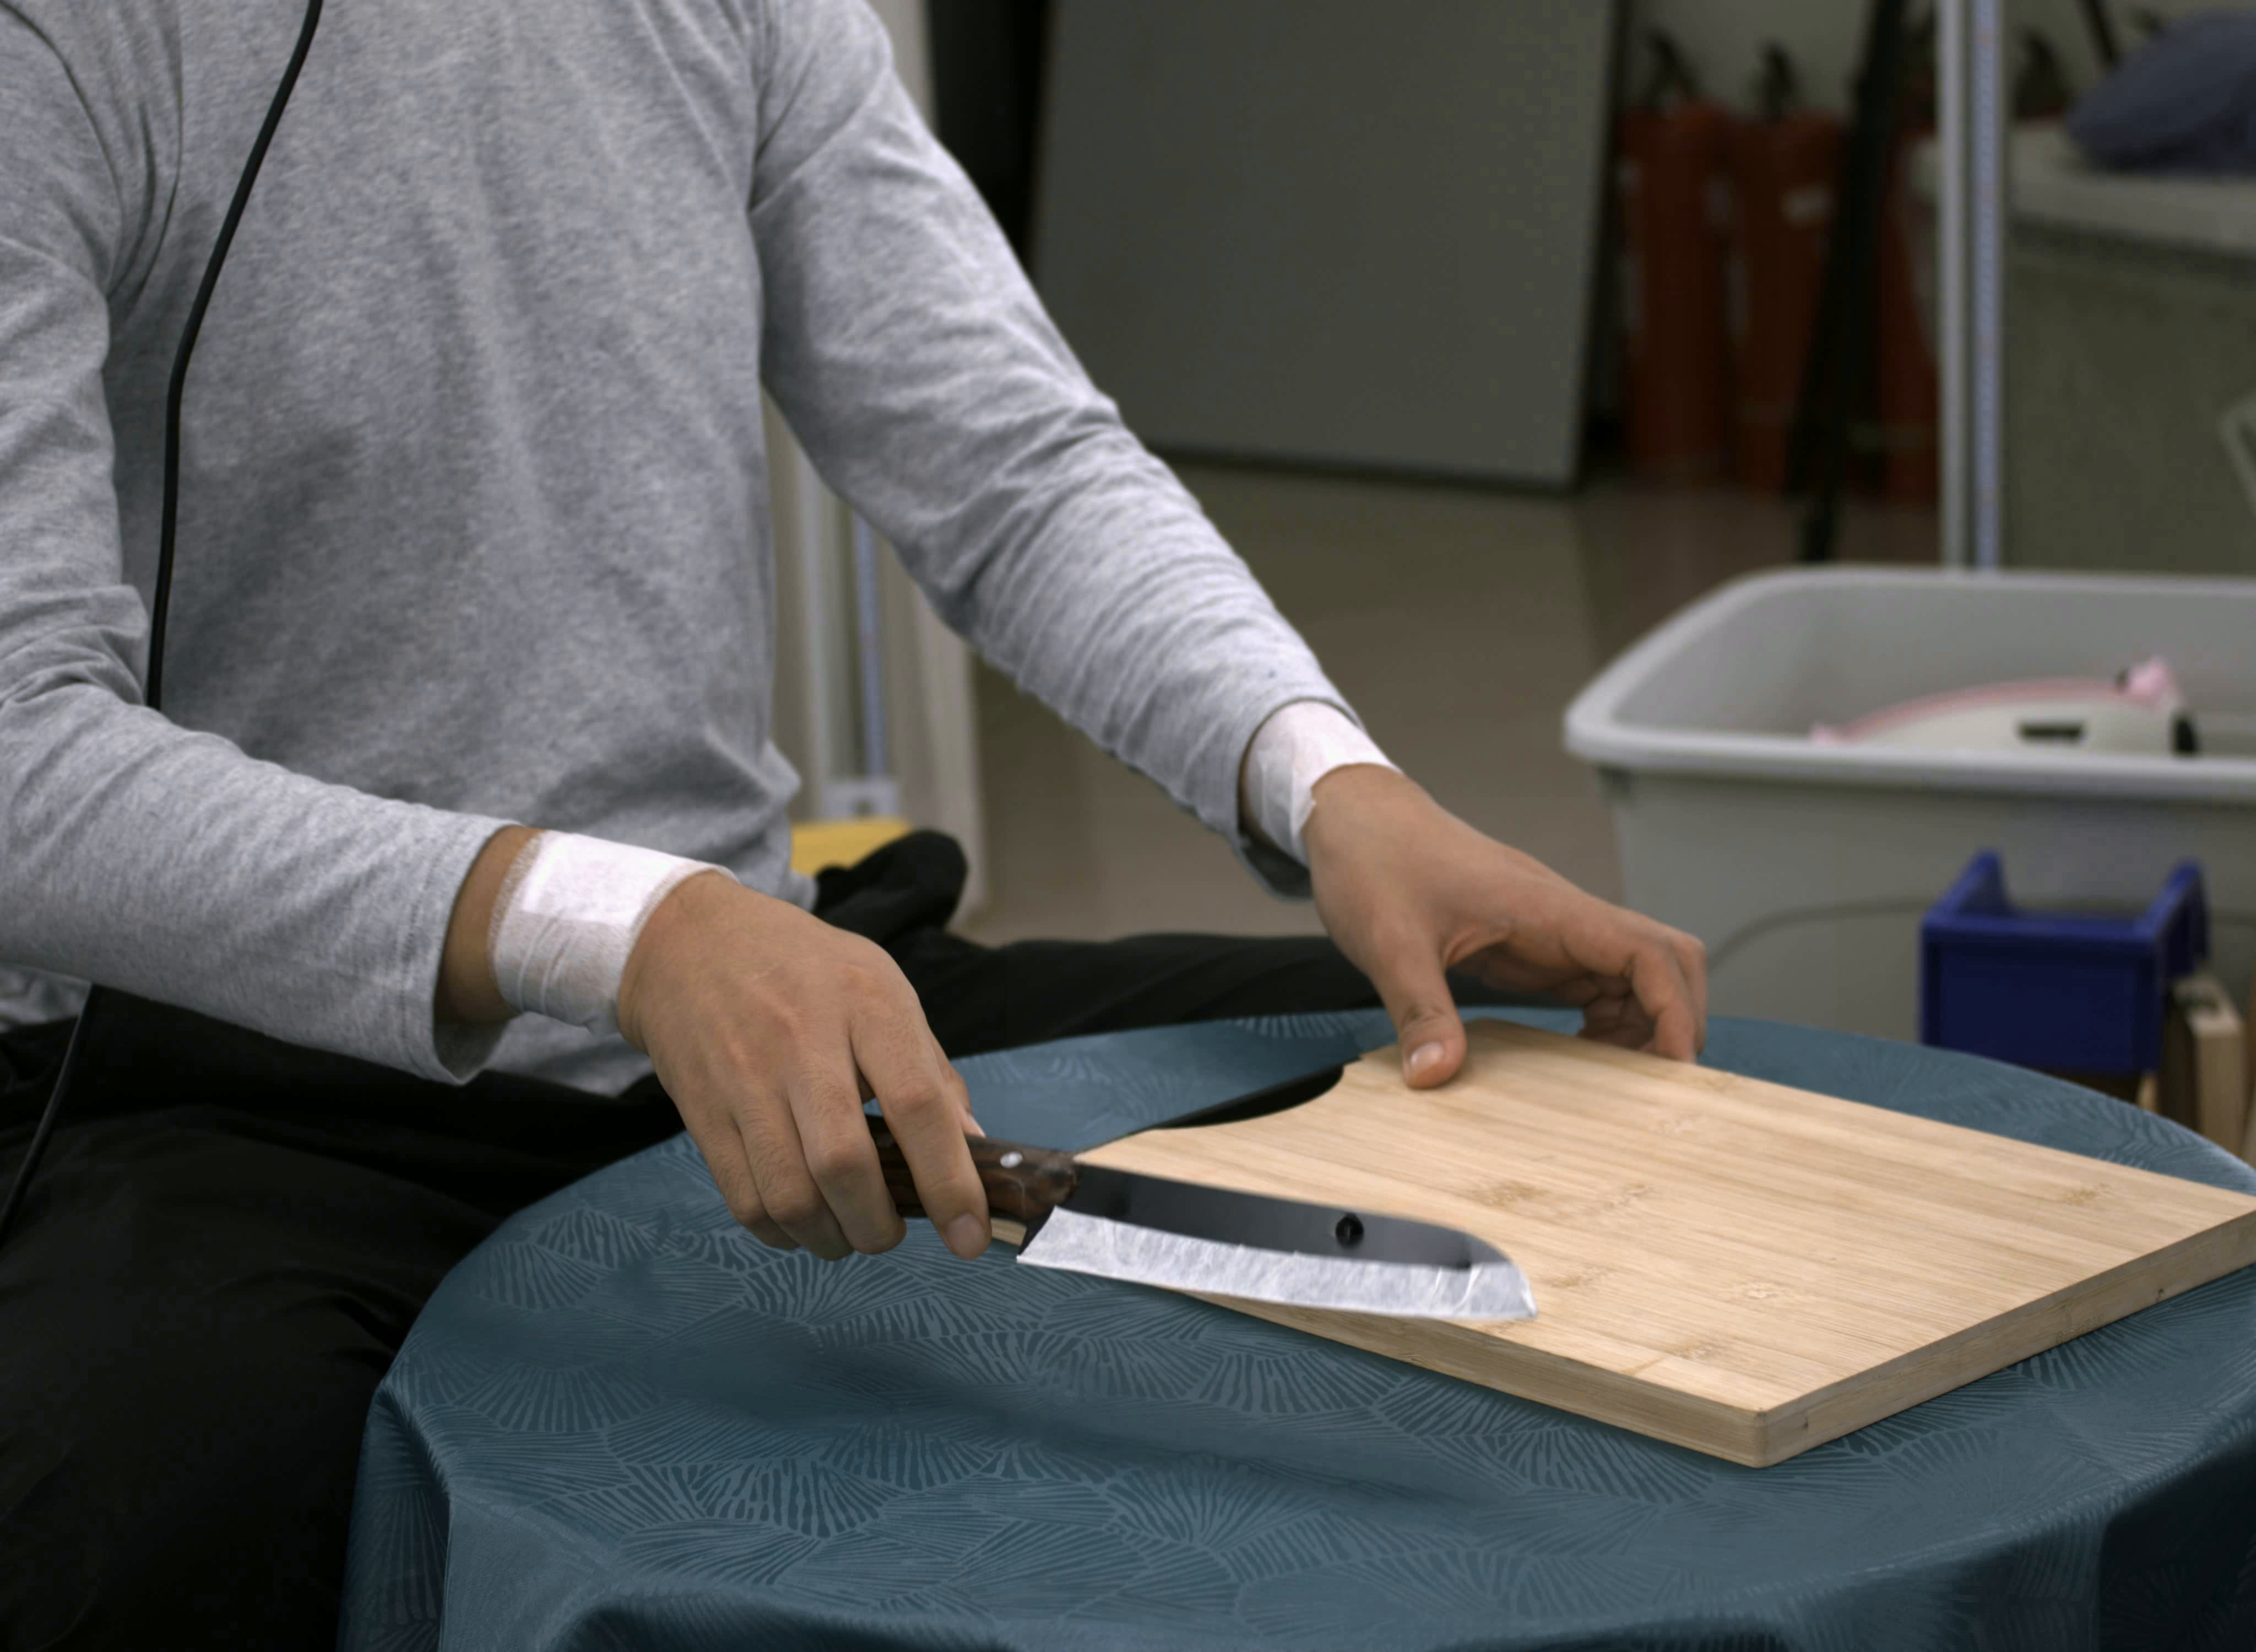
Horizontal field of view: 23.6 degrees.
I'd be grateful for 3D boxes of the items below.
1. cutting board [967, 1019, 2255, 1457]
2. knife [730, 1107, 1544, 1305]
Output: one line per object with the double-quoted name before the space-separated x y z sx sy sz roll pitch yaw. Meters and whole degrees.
"cutting board" 0.147 0.123 1.691 0.245 0.024 0.352 -15 17 -40
"knife" -0.002 0.111 1.559 0.291 0.020 0.050 7 45 35
